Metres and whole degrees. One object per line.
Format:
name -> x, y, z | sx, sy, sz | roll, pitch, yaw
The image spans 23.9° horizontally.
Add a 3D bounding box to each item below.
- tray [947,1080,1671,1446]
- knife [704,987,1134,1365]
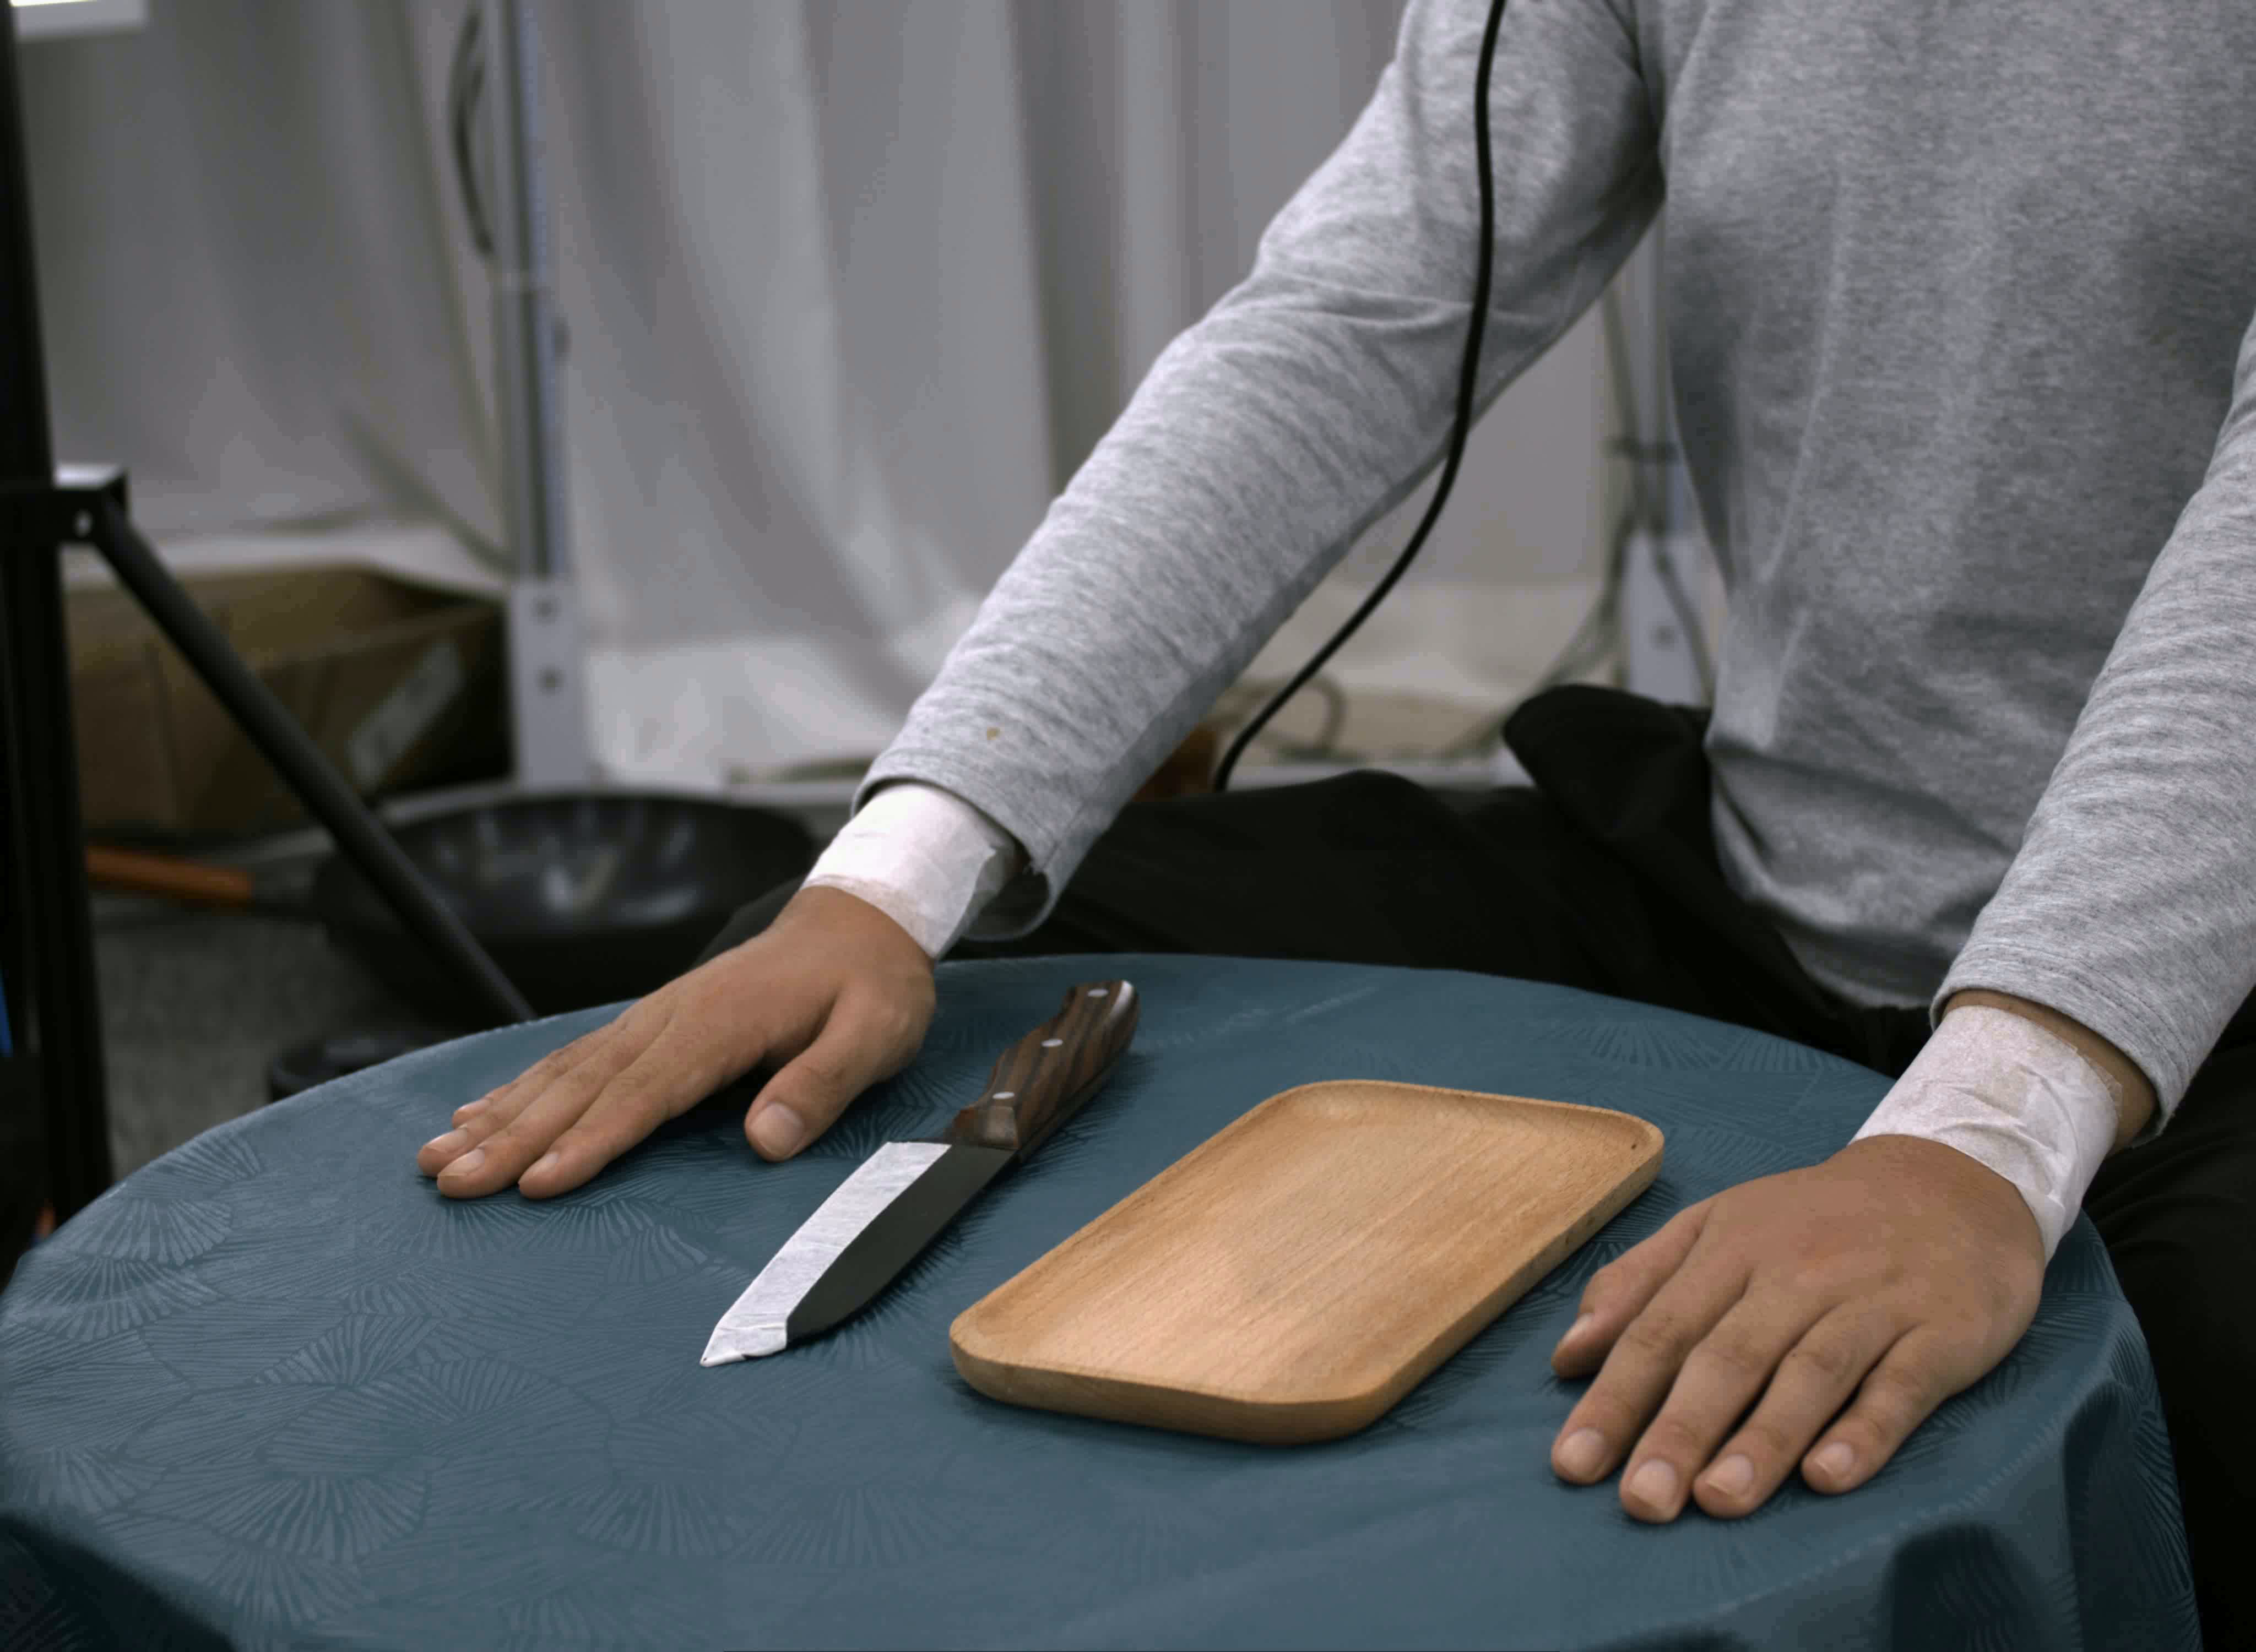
tray -> 0.055, 0.119, 1.485 | 0.133, 0.023, 0.246 | 9, 18, 27
knife -> -0.057, 0.103, 1.565 | 0.051, 0.020, 0.285 | -1, 17, 23
